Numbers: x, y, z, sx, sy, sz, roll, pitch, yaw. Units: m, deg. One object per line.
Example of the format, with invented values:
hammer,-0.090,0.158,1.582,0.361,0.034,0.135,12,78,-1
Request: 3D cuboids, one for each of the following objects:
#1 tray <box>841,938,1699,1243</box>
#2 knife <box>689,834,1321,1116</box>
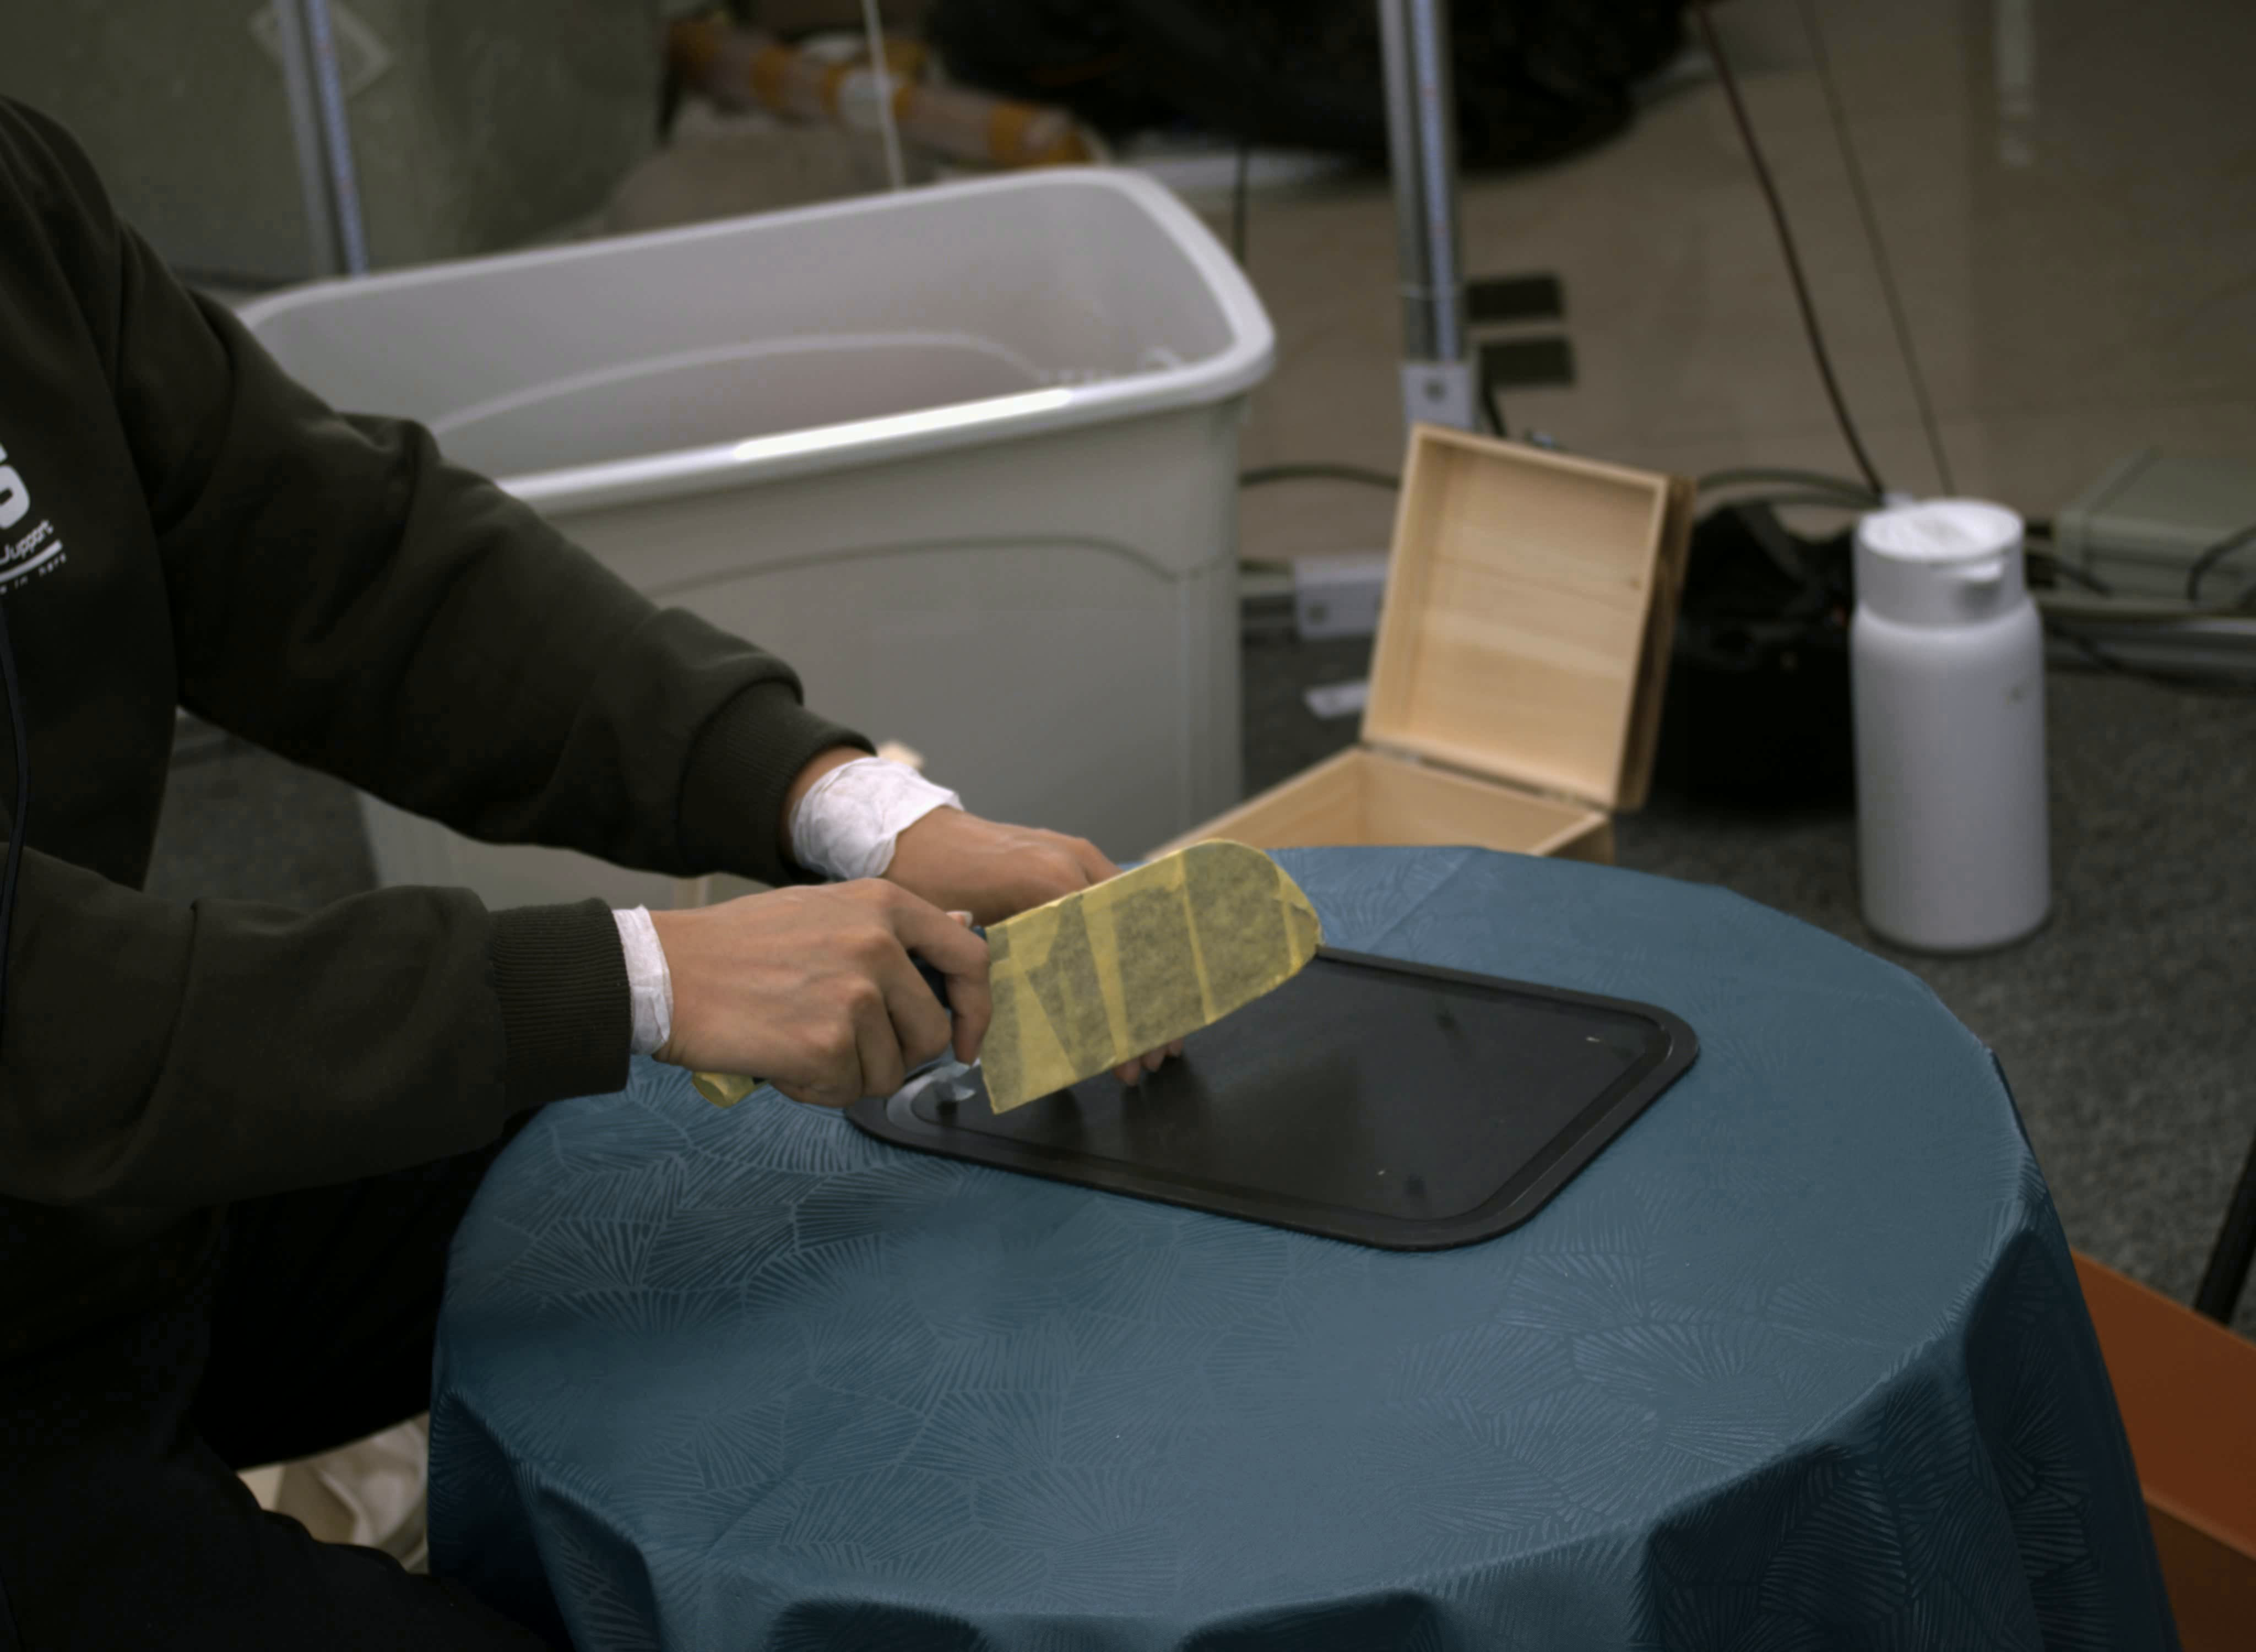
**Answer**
tray,0.047,0.094,2.227,0.324,0.010,0.209,10,29,31
knife,-0.041,0.069,2.181,0.288,0.082,0.027,-18,16,-30
